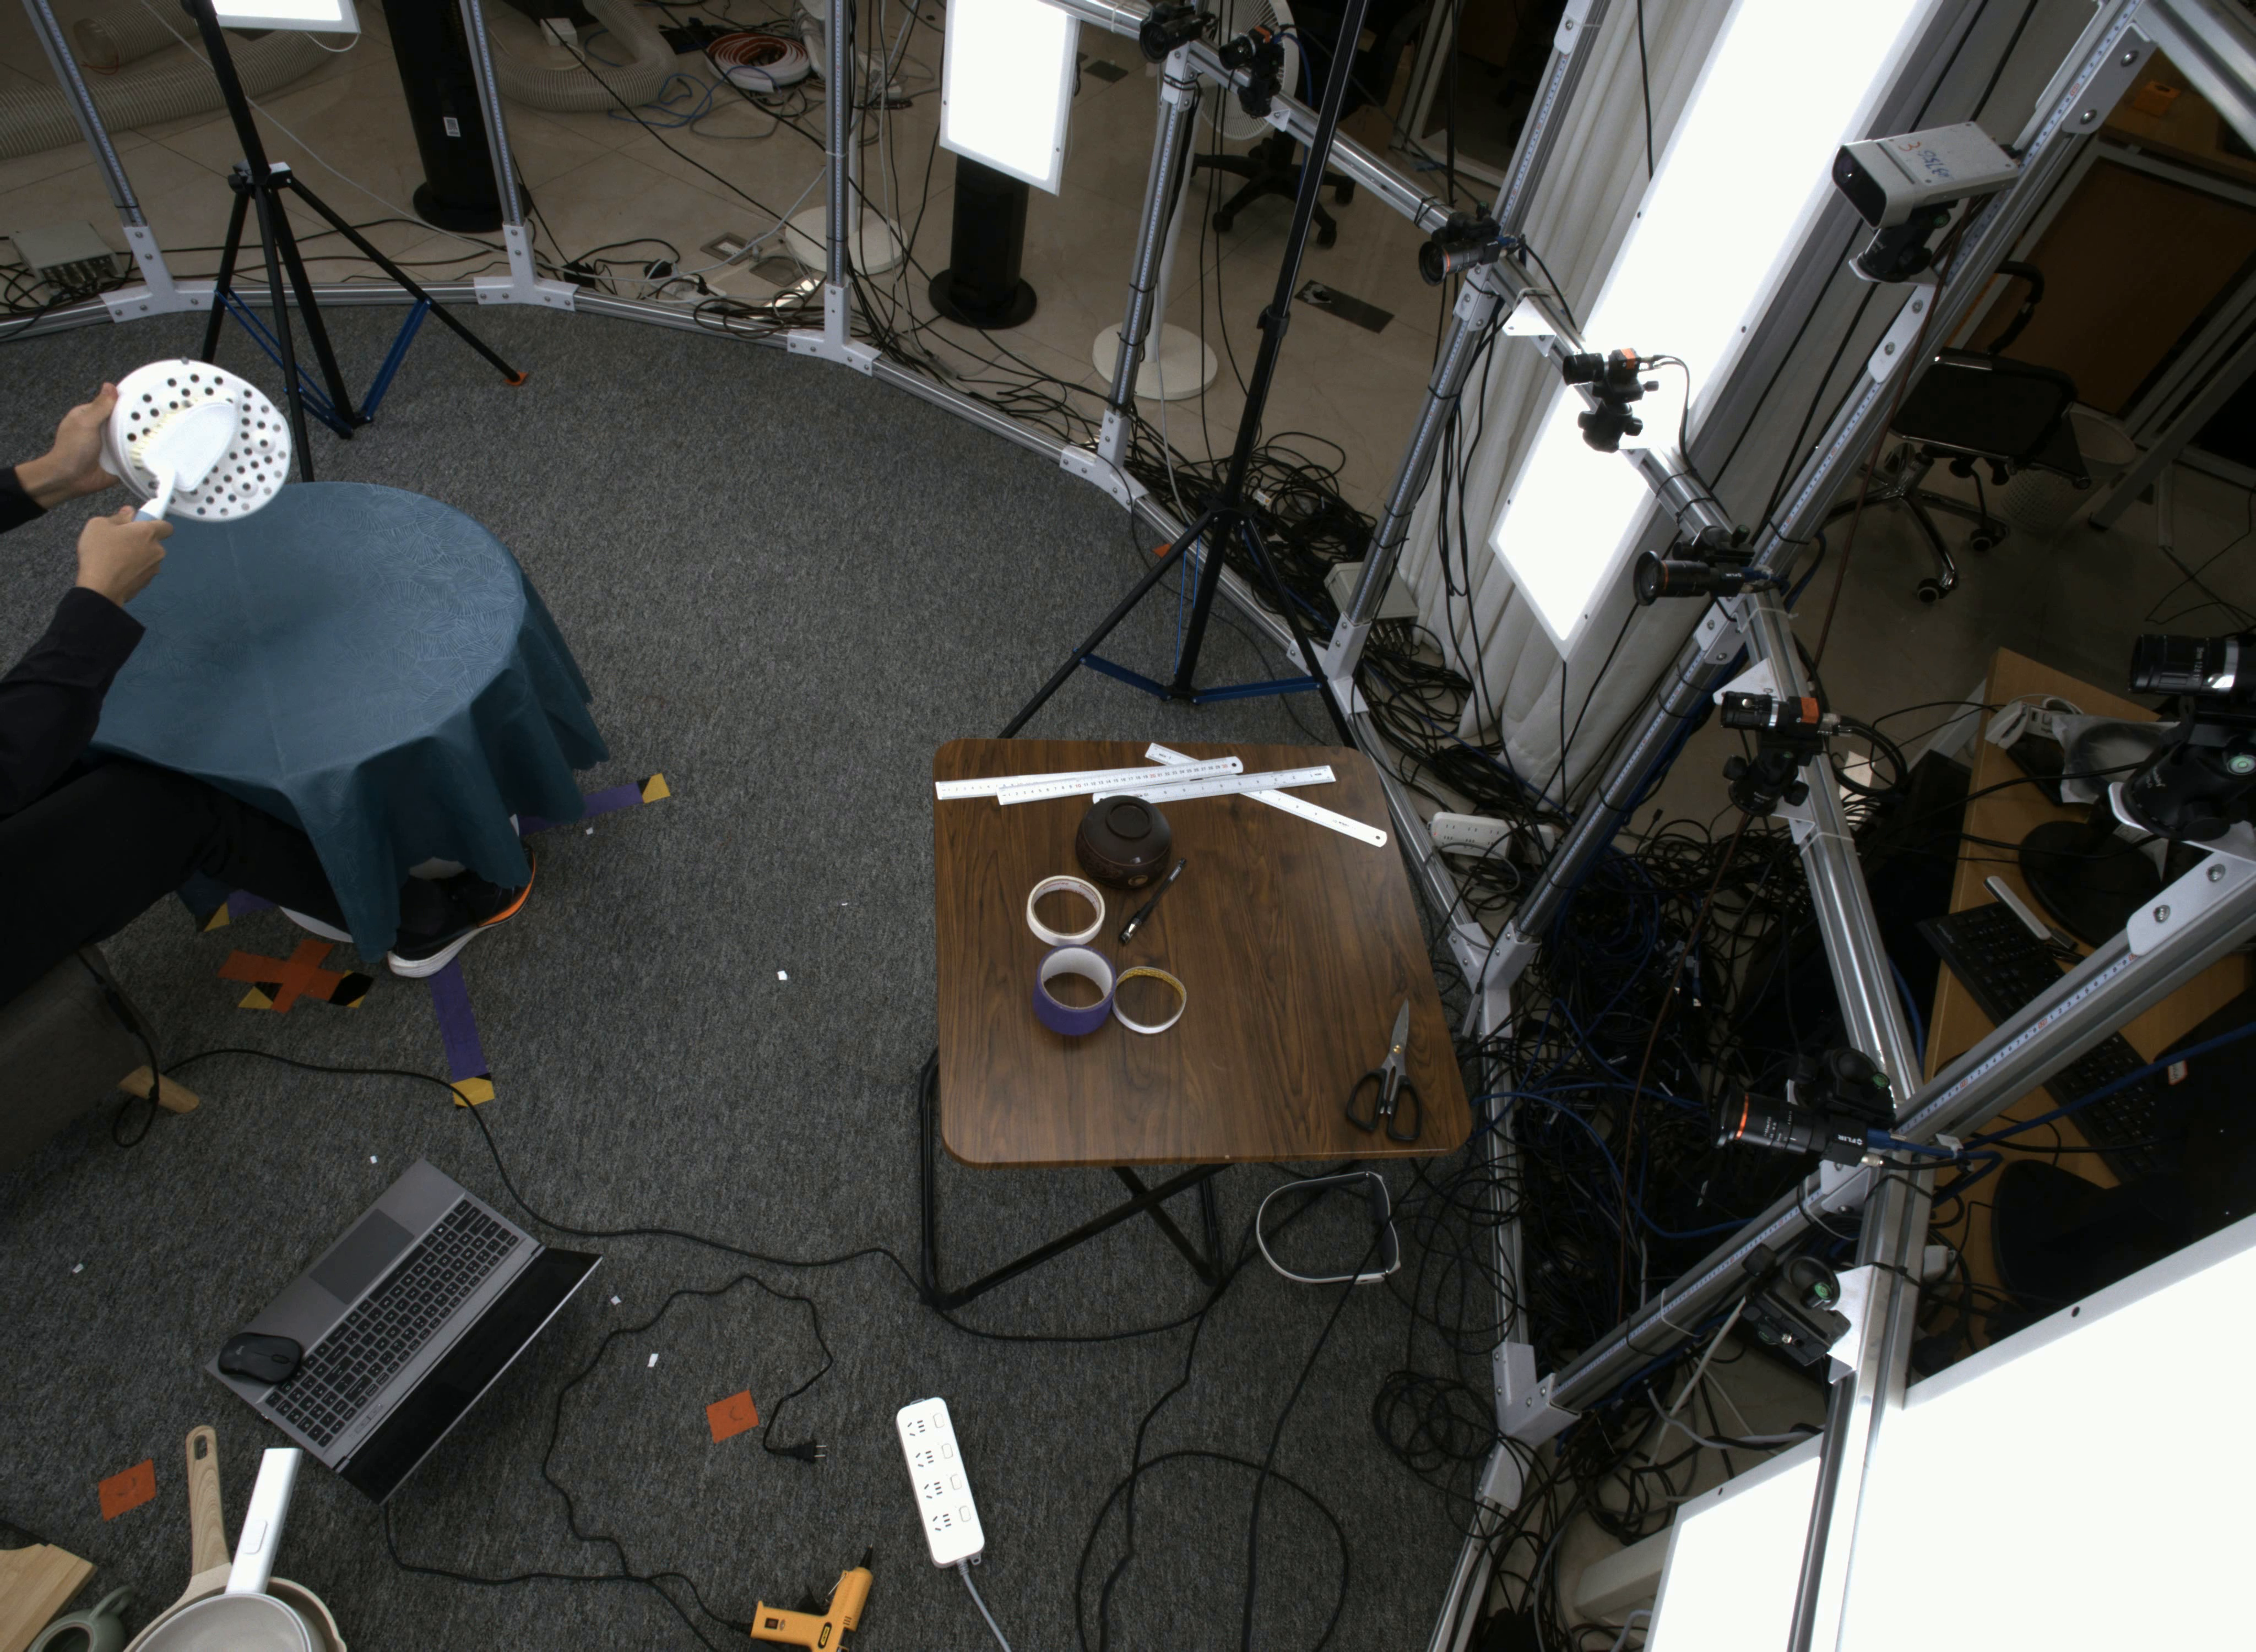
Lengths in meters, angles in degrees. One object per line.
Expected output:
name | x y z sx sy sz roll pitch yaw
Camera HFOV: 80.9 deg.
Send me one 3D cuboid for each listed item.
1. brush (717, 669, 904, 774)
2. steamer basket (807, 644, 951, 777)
brush | -0.478 -0.157 1.927 0.326 0.086 0.081 -32 68 -31
steamer basket | -0.385 -0.182 2.036 0.234 0.203 0.068 15 -4 -21
